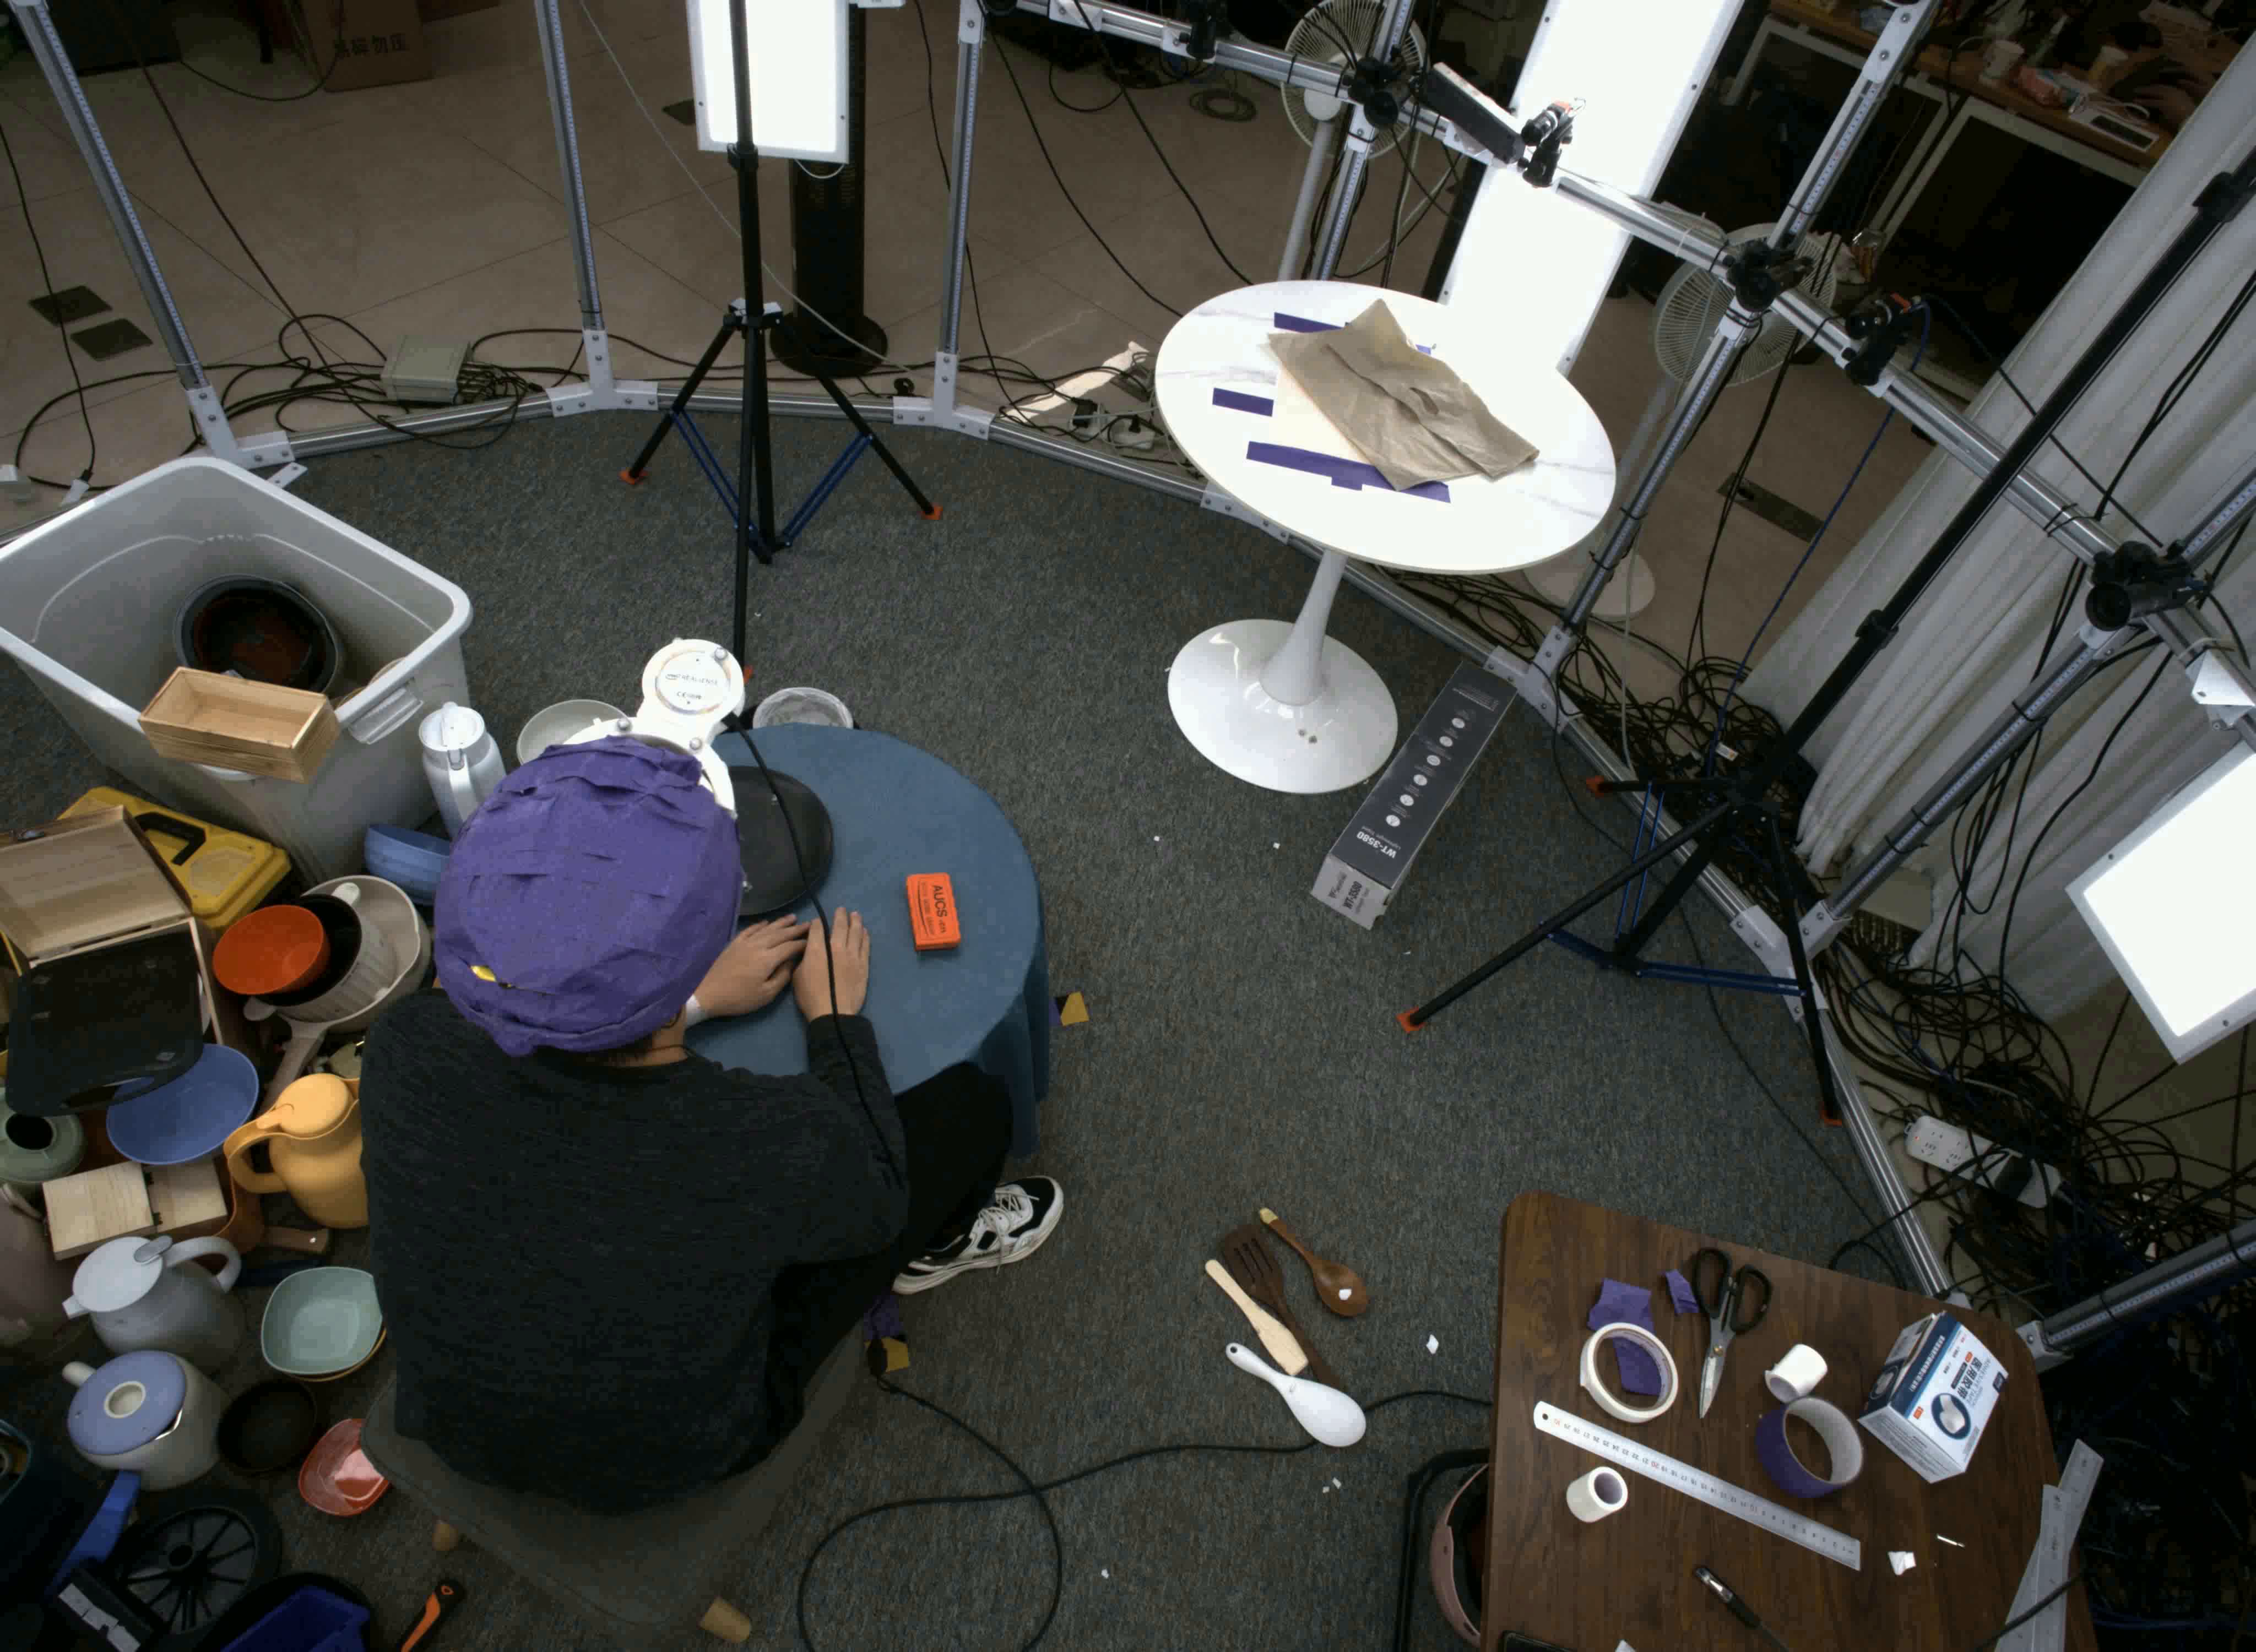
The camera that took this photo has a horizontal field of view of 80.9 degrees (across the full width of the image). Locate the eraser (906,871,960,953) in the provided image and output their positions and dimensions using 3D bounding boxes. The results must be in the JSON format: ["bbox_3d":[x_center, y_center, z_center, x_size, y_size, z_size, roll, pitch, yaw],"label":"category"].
[{"bbox_3d":[-0.250,0.108,1.668,0.059,0.023,0.105,-5,55,-16],"label":"eraser"}]

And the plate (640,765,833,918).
[{"bbox_3d":[-0.504,0.020,1.668,0.244,0.024,0.240,8,53,-9],"label":"plate"}]
